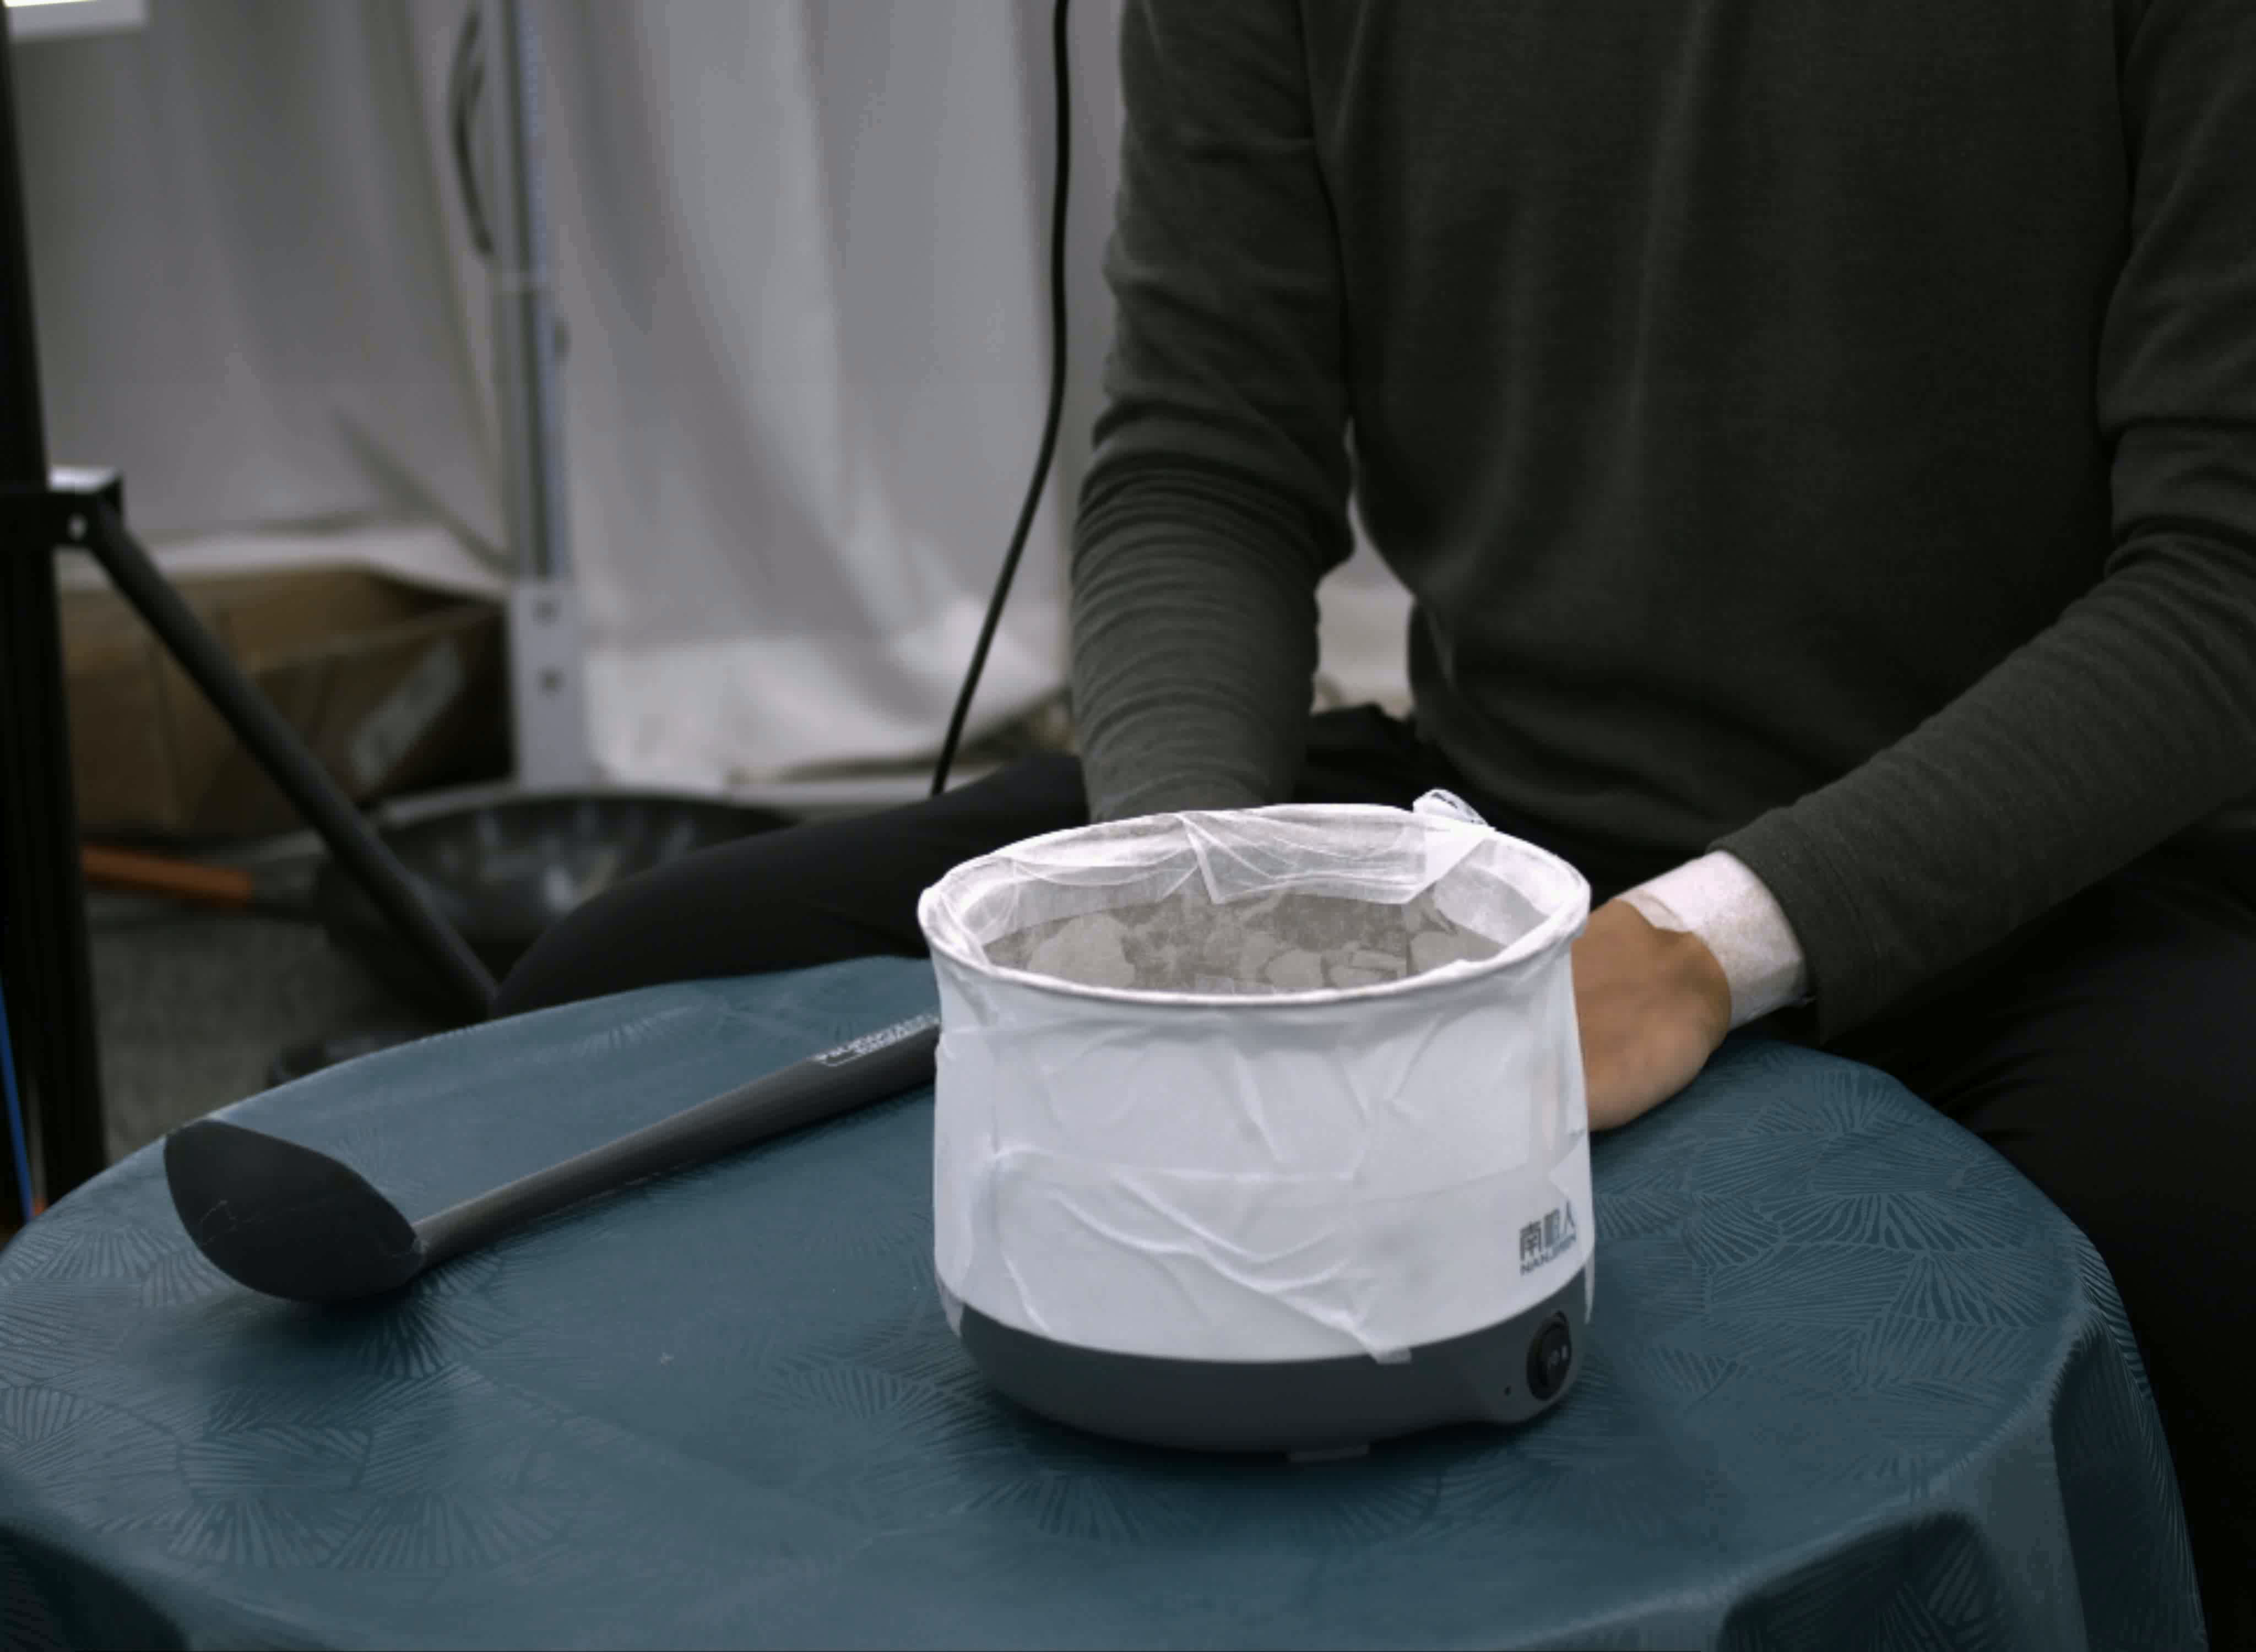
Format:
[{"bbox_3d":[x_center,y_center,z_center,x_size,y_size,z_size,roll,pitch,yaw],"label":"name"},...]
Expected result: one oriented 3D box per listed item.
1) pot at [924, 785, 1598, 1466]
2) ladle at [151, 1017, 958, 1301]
[{"bbox_3d":[0.051,0.072,1.427,0.182,0.136,0.229,8,19,32],"label":"pot"},{"bbox_3d":[-0.152,0.078,1.577,0.088,0.064,0.307,17,24,39],"label":"ladle"}]
